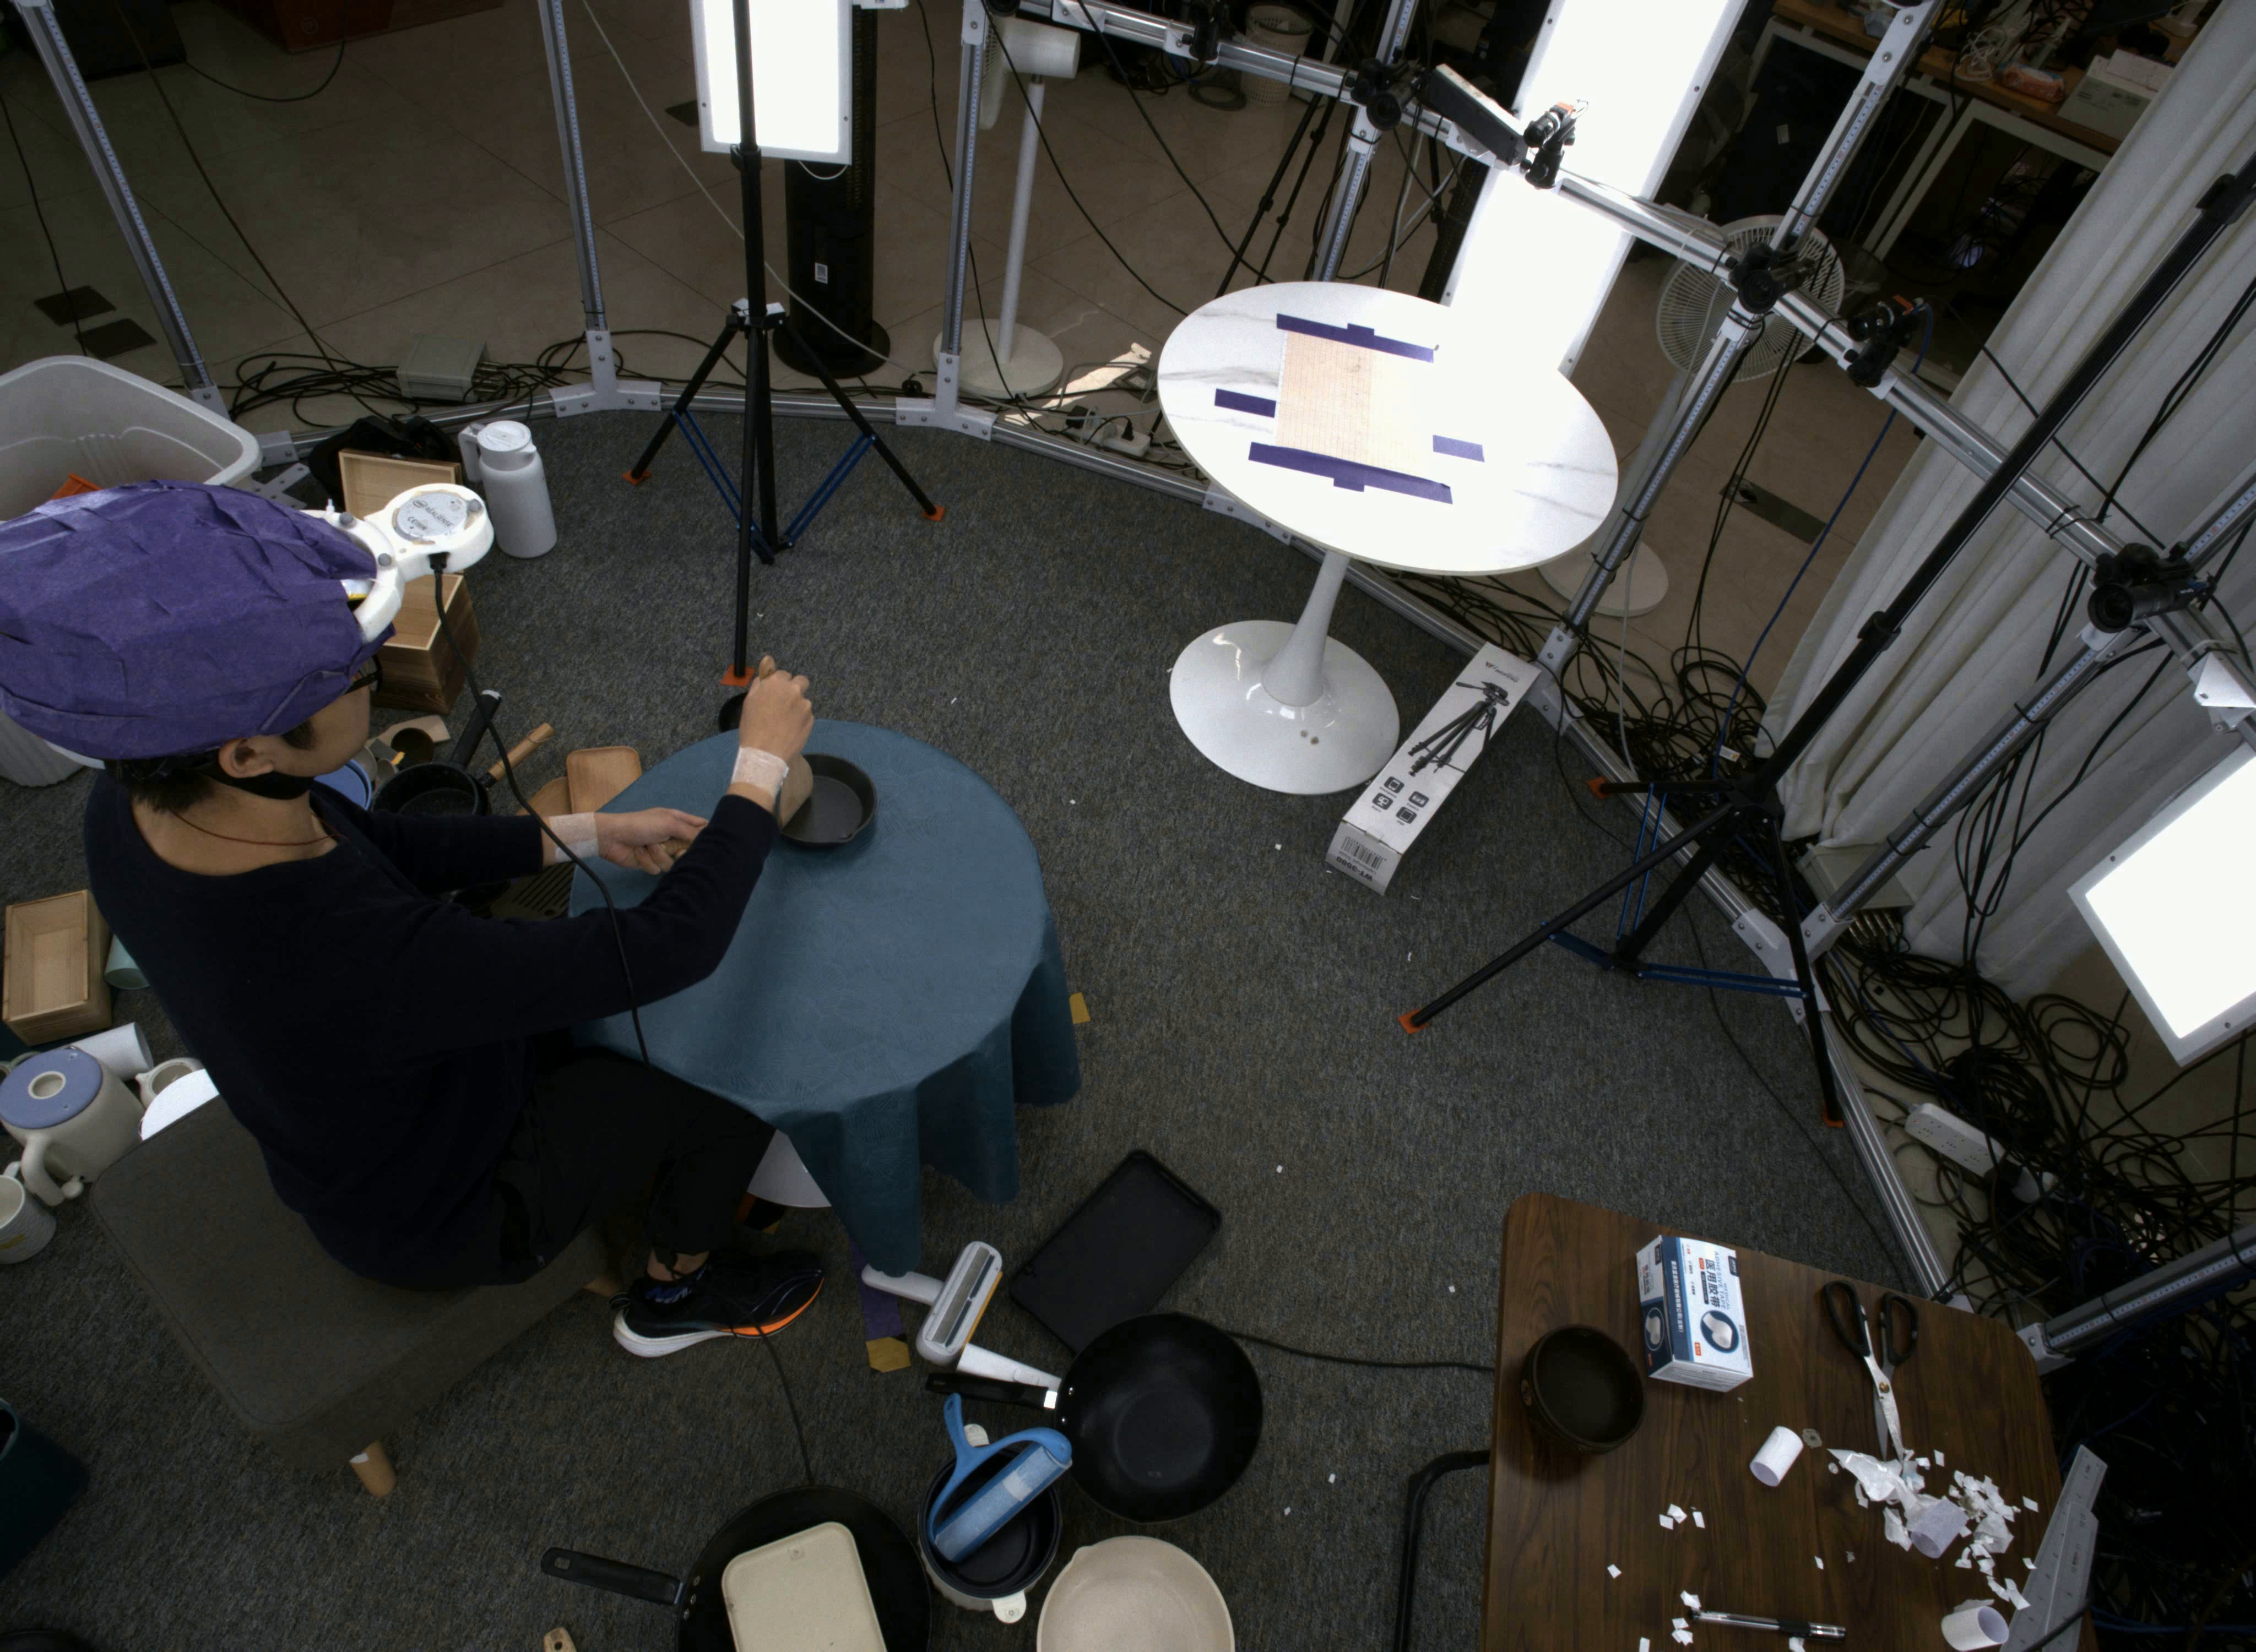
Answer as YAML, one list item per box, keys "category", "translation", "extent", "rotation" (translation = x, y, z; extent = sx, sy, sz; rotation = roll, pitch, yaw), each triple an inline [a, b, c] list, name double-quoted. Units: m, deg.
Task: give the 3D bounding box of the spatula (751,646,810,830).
- category: "spatula"
  translation: [-0.427, -0.104, 1.576]
  extent: [0.016, 0.335, 0.079]
  rotation: [20, 58, 9]

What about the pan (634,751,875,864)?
- category: "pan"
  translation: [-0.479, -0.009, 1.660]
  extent: [0.326, 0.050, 0.165]
  rotation: [-21, 61, -34]
